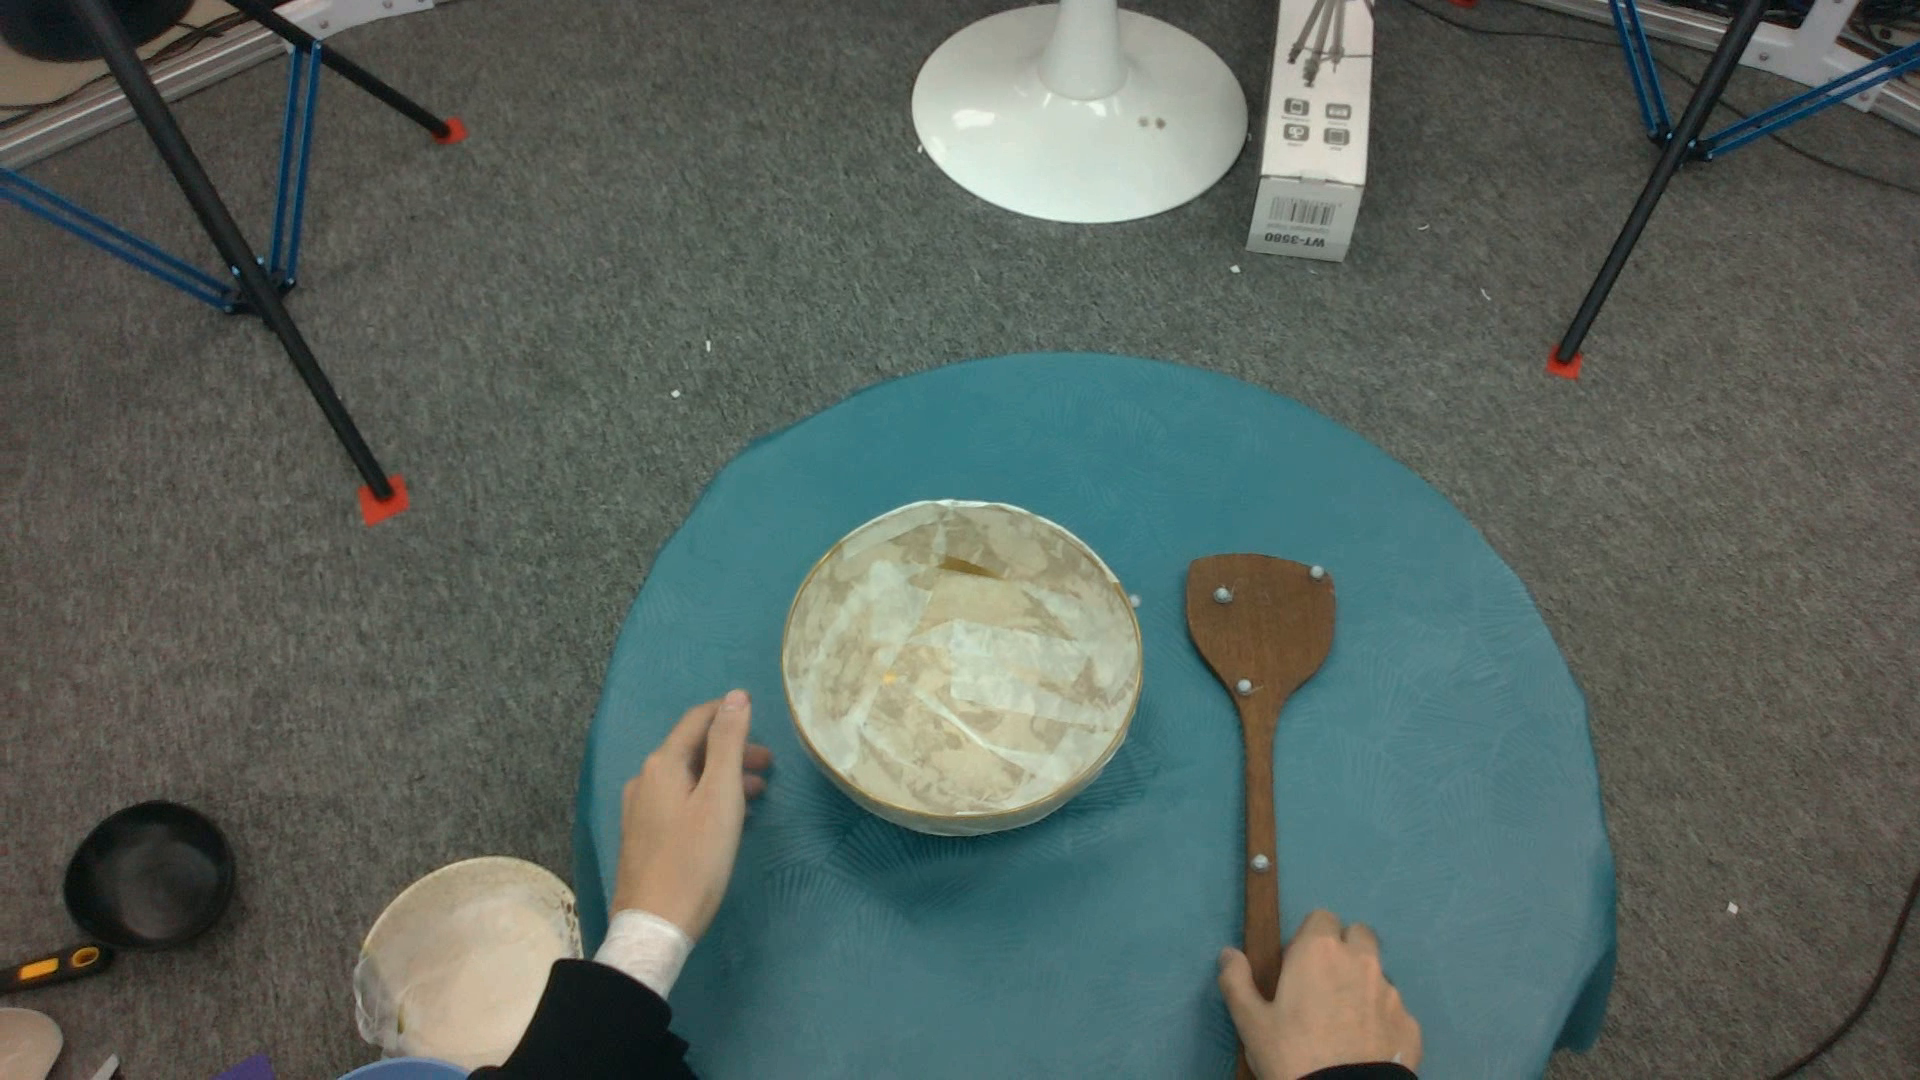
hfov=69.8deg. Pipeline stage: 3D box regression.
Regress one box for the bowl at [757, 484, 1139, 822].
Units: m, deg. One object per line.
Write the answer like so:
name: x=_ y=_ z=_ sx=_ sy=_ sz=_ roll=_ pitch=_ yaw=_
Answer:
bowl: x=-0.010 y=0.077 z=0.786 sx=0.215 sy=0.094 sz=0.215 roll=2 pitch=56 yaw=-3

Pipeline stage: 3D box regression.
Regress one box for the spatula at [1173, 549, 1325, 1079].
spatula: x=0.163 y=0.162 z=0.780 sx=0.096 sy=0.016 sz=0.388 roll=7 pitch=54 yaw=3
